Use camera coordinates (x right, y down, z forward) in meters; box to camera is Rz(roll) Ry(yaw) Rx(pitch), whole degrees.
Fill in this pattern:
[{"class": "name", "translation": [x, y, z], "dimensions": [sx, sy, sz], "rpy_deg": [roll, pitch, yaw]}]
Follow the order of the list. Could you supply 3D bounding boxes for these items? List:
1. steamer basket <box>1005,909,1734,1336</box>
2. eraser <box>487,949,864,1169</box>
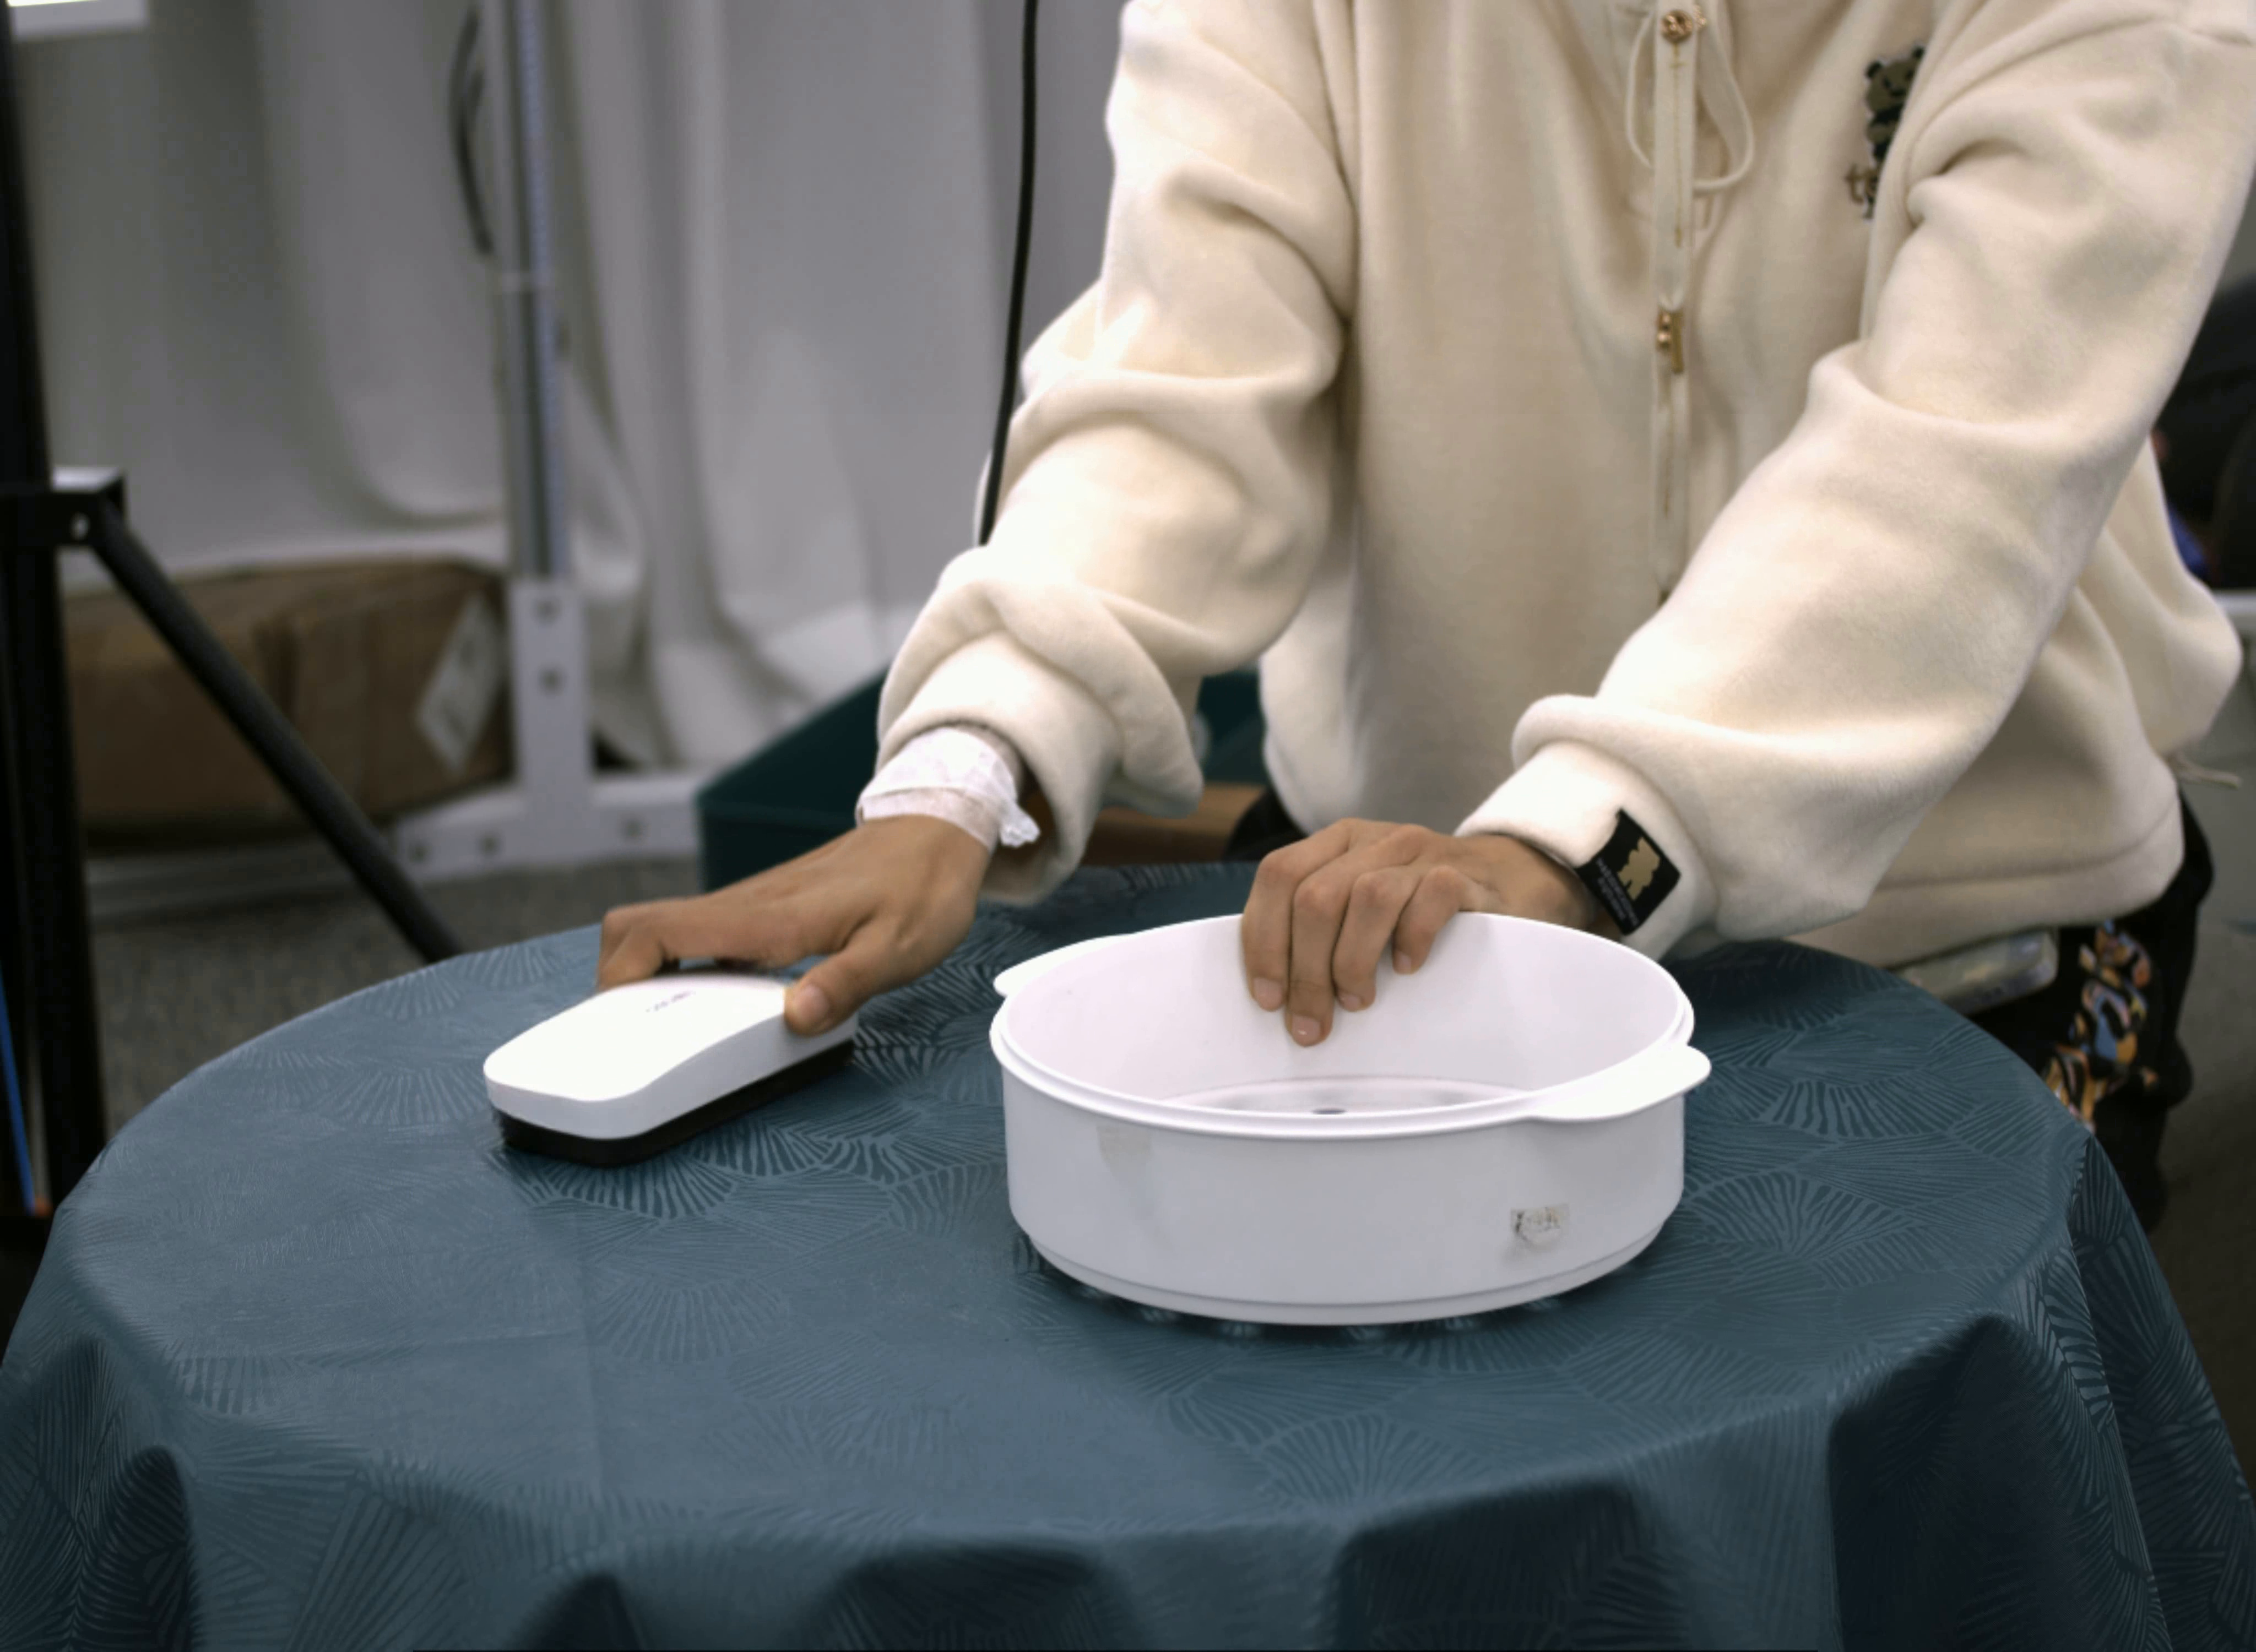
[{"class": "steamer basket", "translation": [0.065, 0.084, 1.508], "dimensions": [0.236, 0.069, 0.197], "rpy_deg": [13, 21, 40]}, {"class": "eraser", "translation": [-0.138, 0.069, 1.654], "dimensions": [0.065, 0.034, 0.129], "rpy_deg": [10, 22, 35]}]
